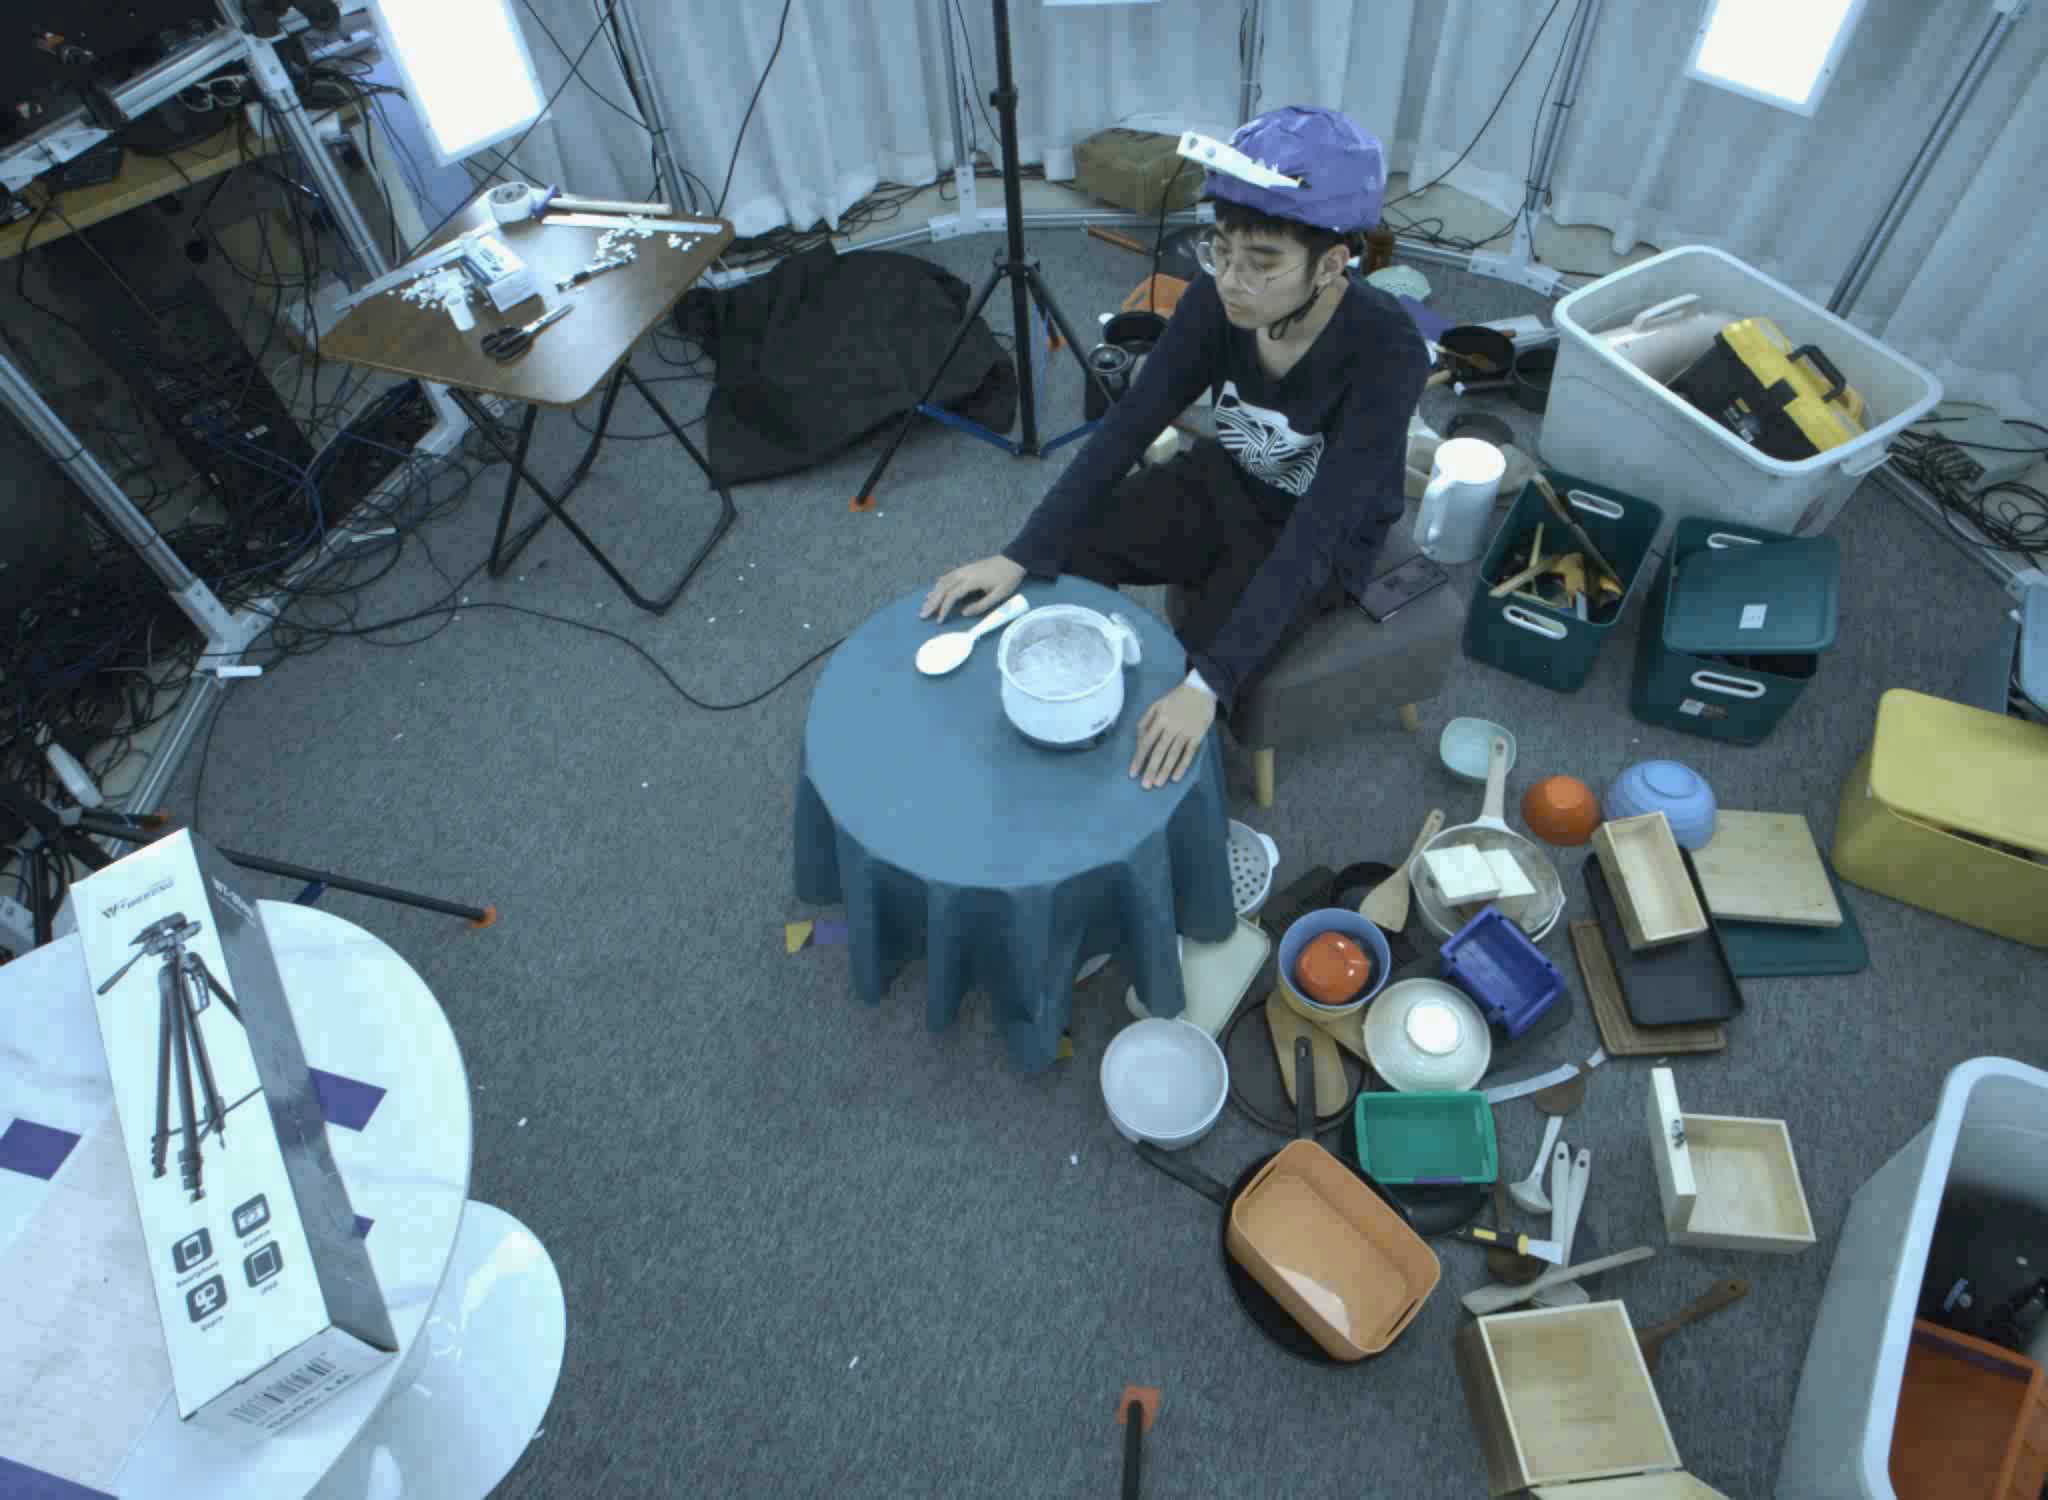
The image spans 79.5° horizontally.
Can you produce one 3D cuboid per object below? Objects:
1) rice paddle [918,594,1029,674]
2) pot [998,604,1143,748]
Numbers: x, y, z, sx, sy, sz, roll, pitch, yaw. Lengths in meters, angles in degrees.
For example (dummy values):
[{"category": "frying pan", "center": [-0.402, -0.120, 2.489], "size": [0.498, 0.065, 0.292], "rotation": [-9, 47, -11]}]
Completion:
[{"category": "rice paddle", "center": [-0.079, -0.180, 1.908], "size": [0.207, 0.030, 0.067], "rotation": [-35, 58, -22]}, {"category": "pot", "center": [0.076, -0.117, 1.791], "size": [0.235, 0.138, 0.175], "rotation": [-35, 63, -19]}]
